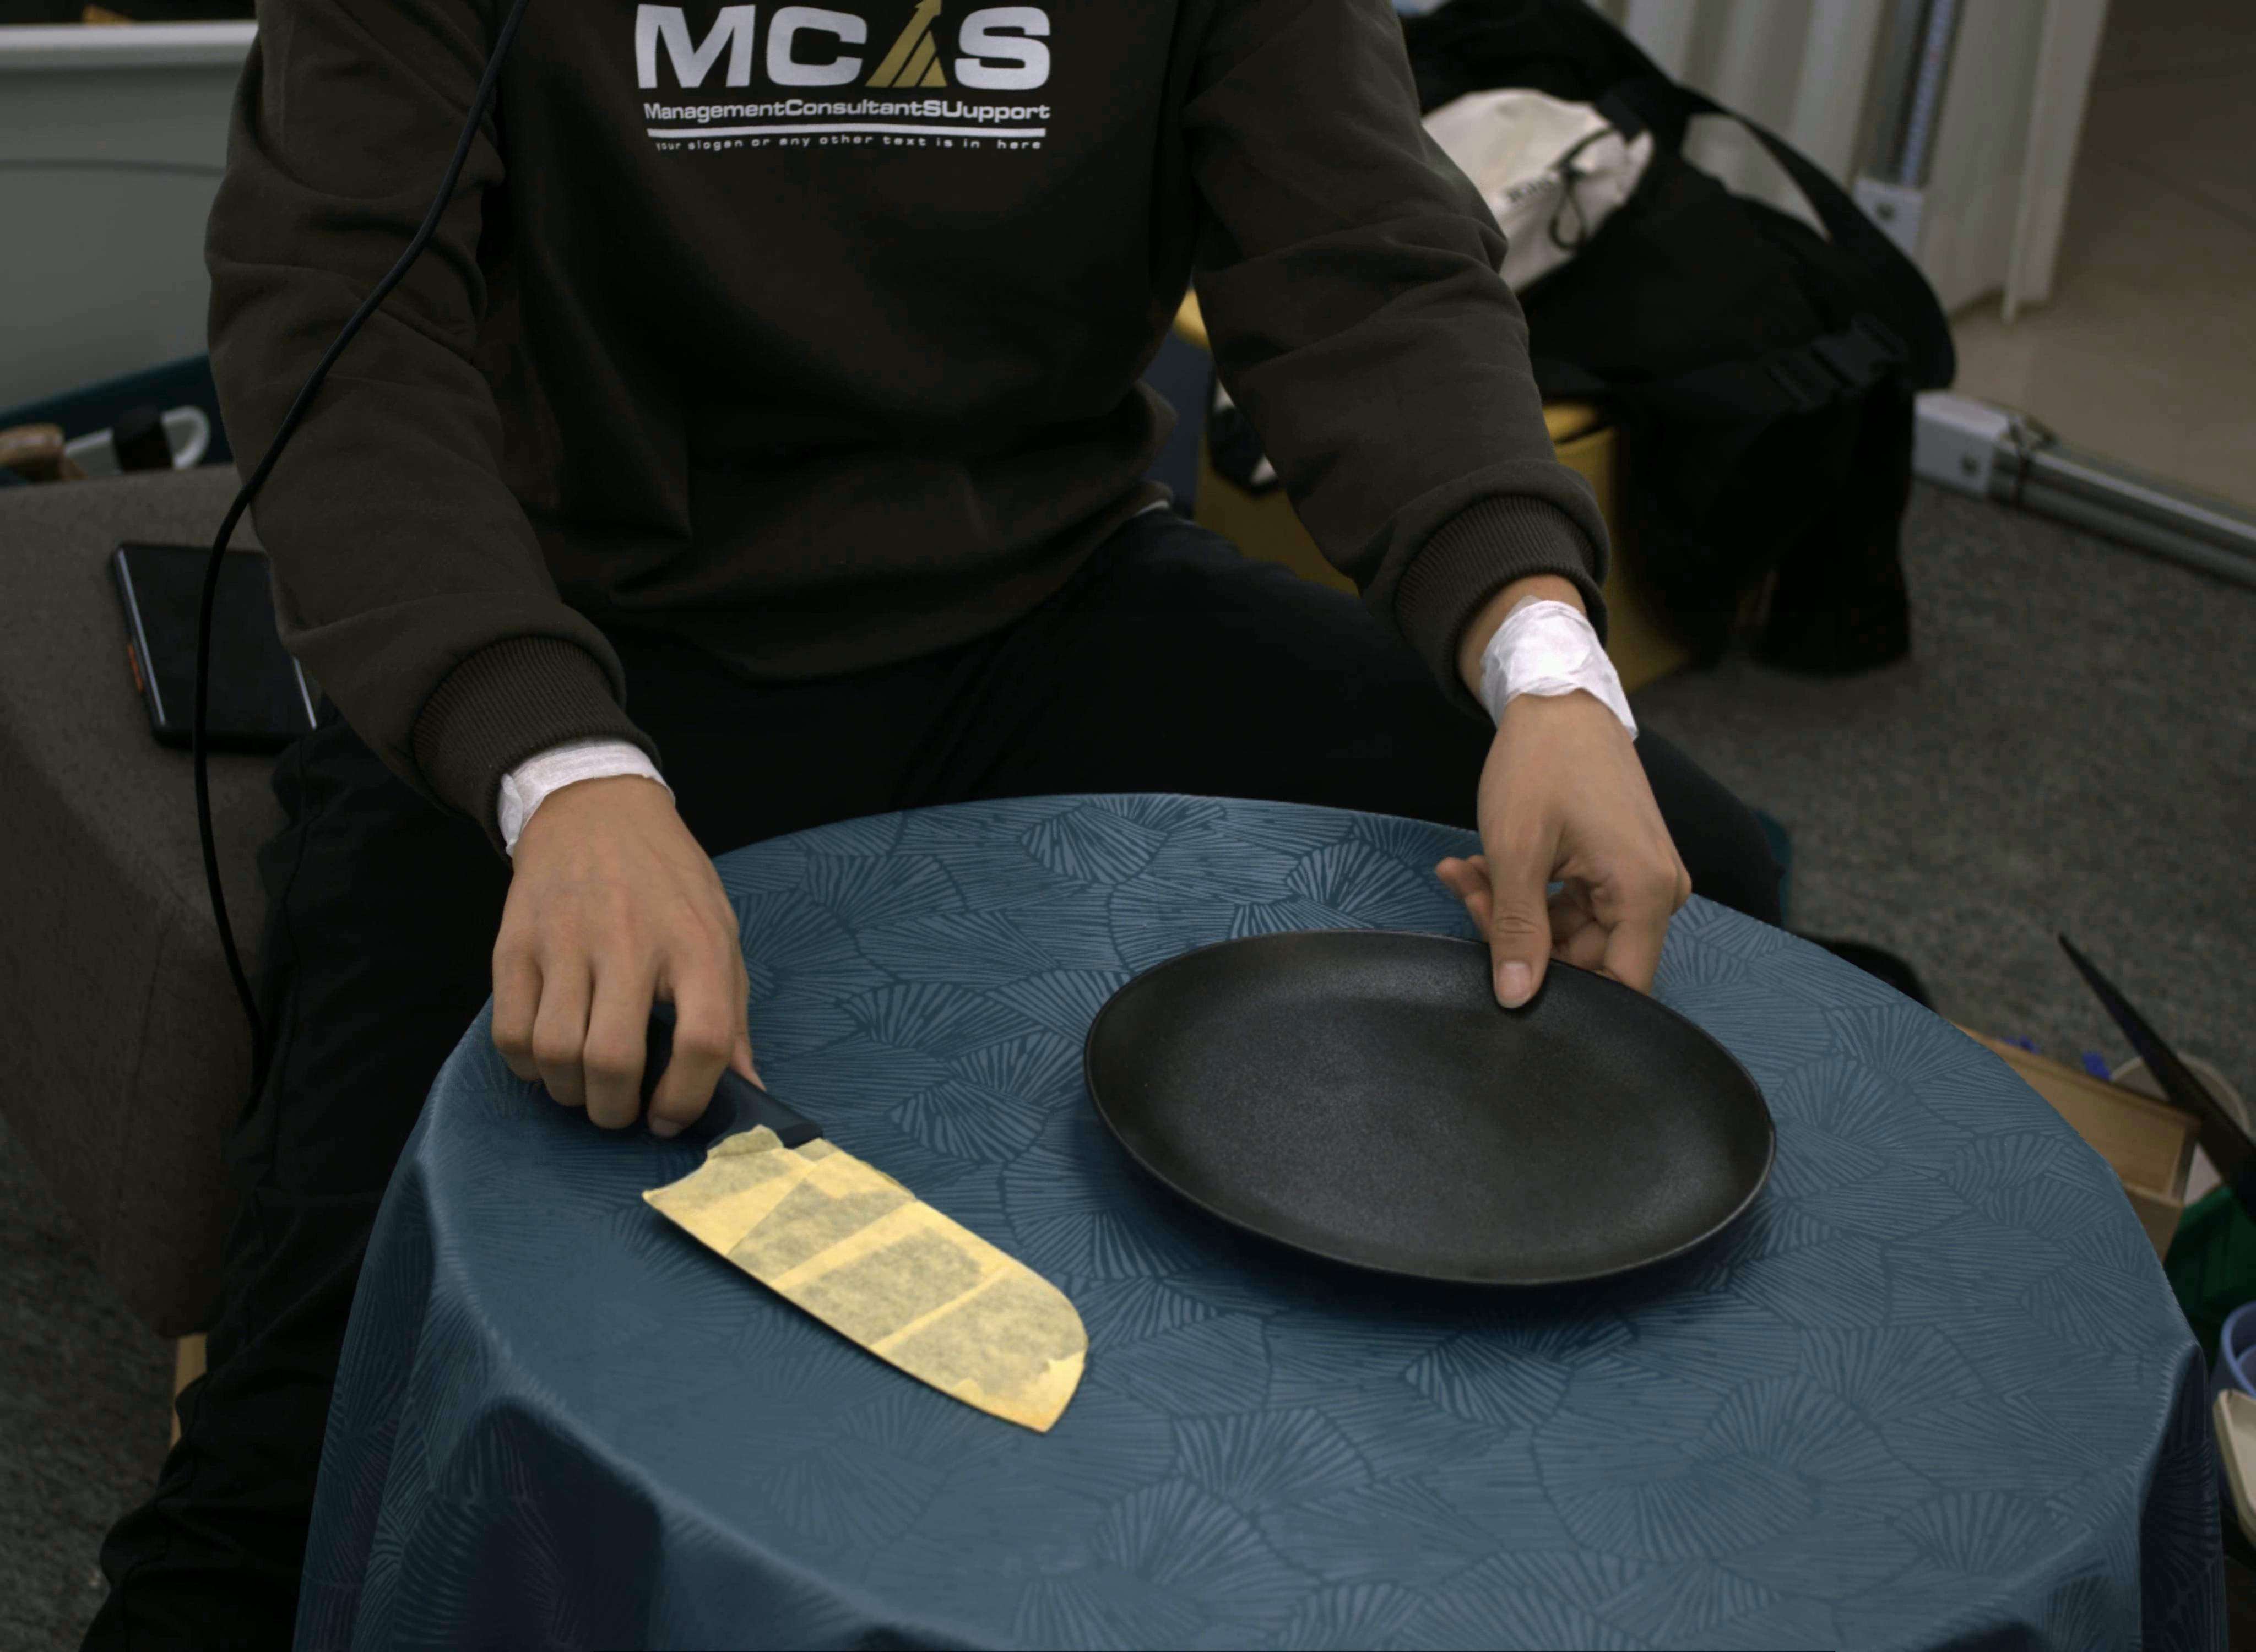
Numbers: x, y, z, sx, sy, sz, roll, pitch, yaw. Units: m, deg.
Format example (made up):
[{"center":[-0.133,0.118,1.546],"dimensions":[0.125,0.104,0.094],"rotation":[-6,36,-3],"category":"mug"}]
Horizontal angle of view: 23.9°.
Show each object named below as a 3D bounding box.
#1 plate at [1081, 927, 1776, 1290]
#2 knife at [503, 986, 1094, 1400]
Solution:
[{"center":[0.103,0.102,1.846],"dimensions":[0.243,0.023,0.246],"rotation":[5,27,-3],"category":"plate"},{"center":[-0.119,0.123,1.765],"dimensions":[0.080,0.027,0.292],"rotation":[-19,37,-42],"category":"knife"}]
